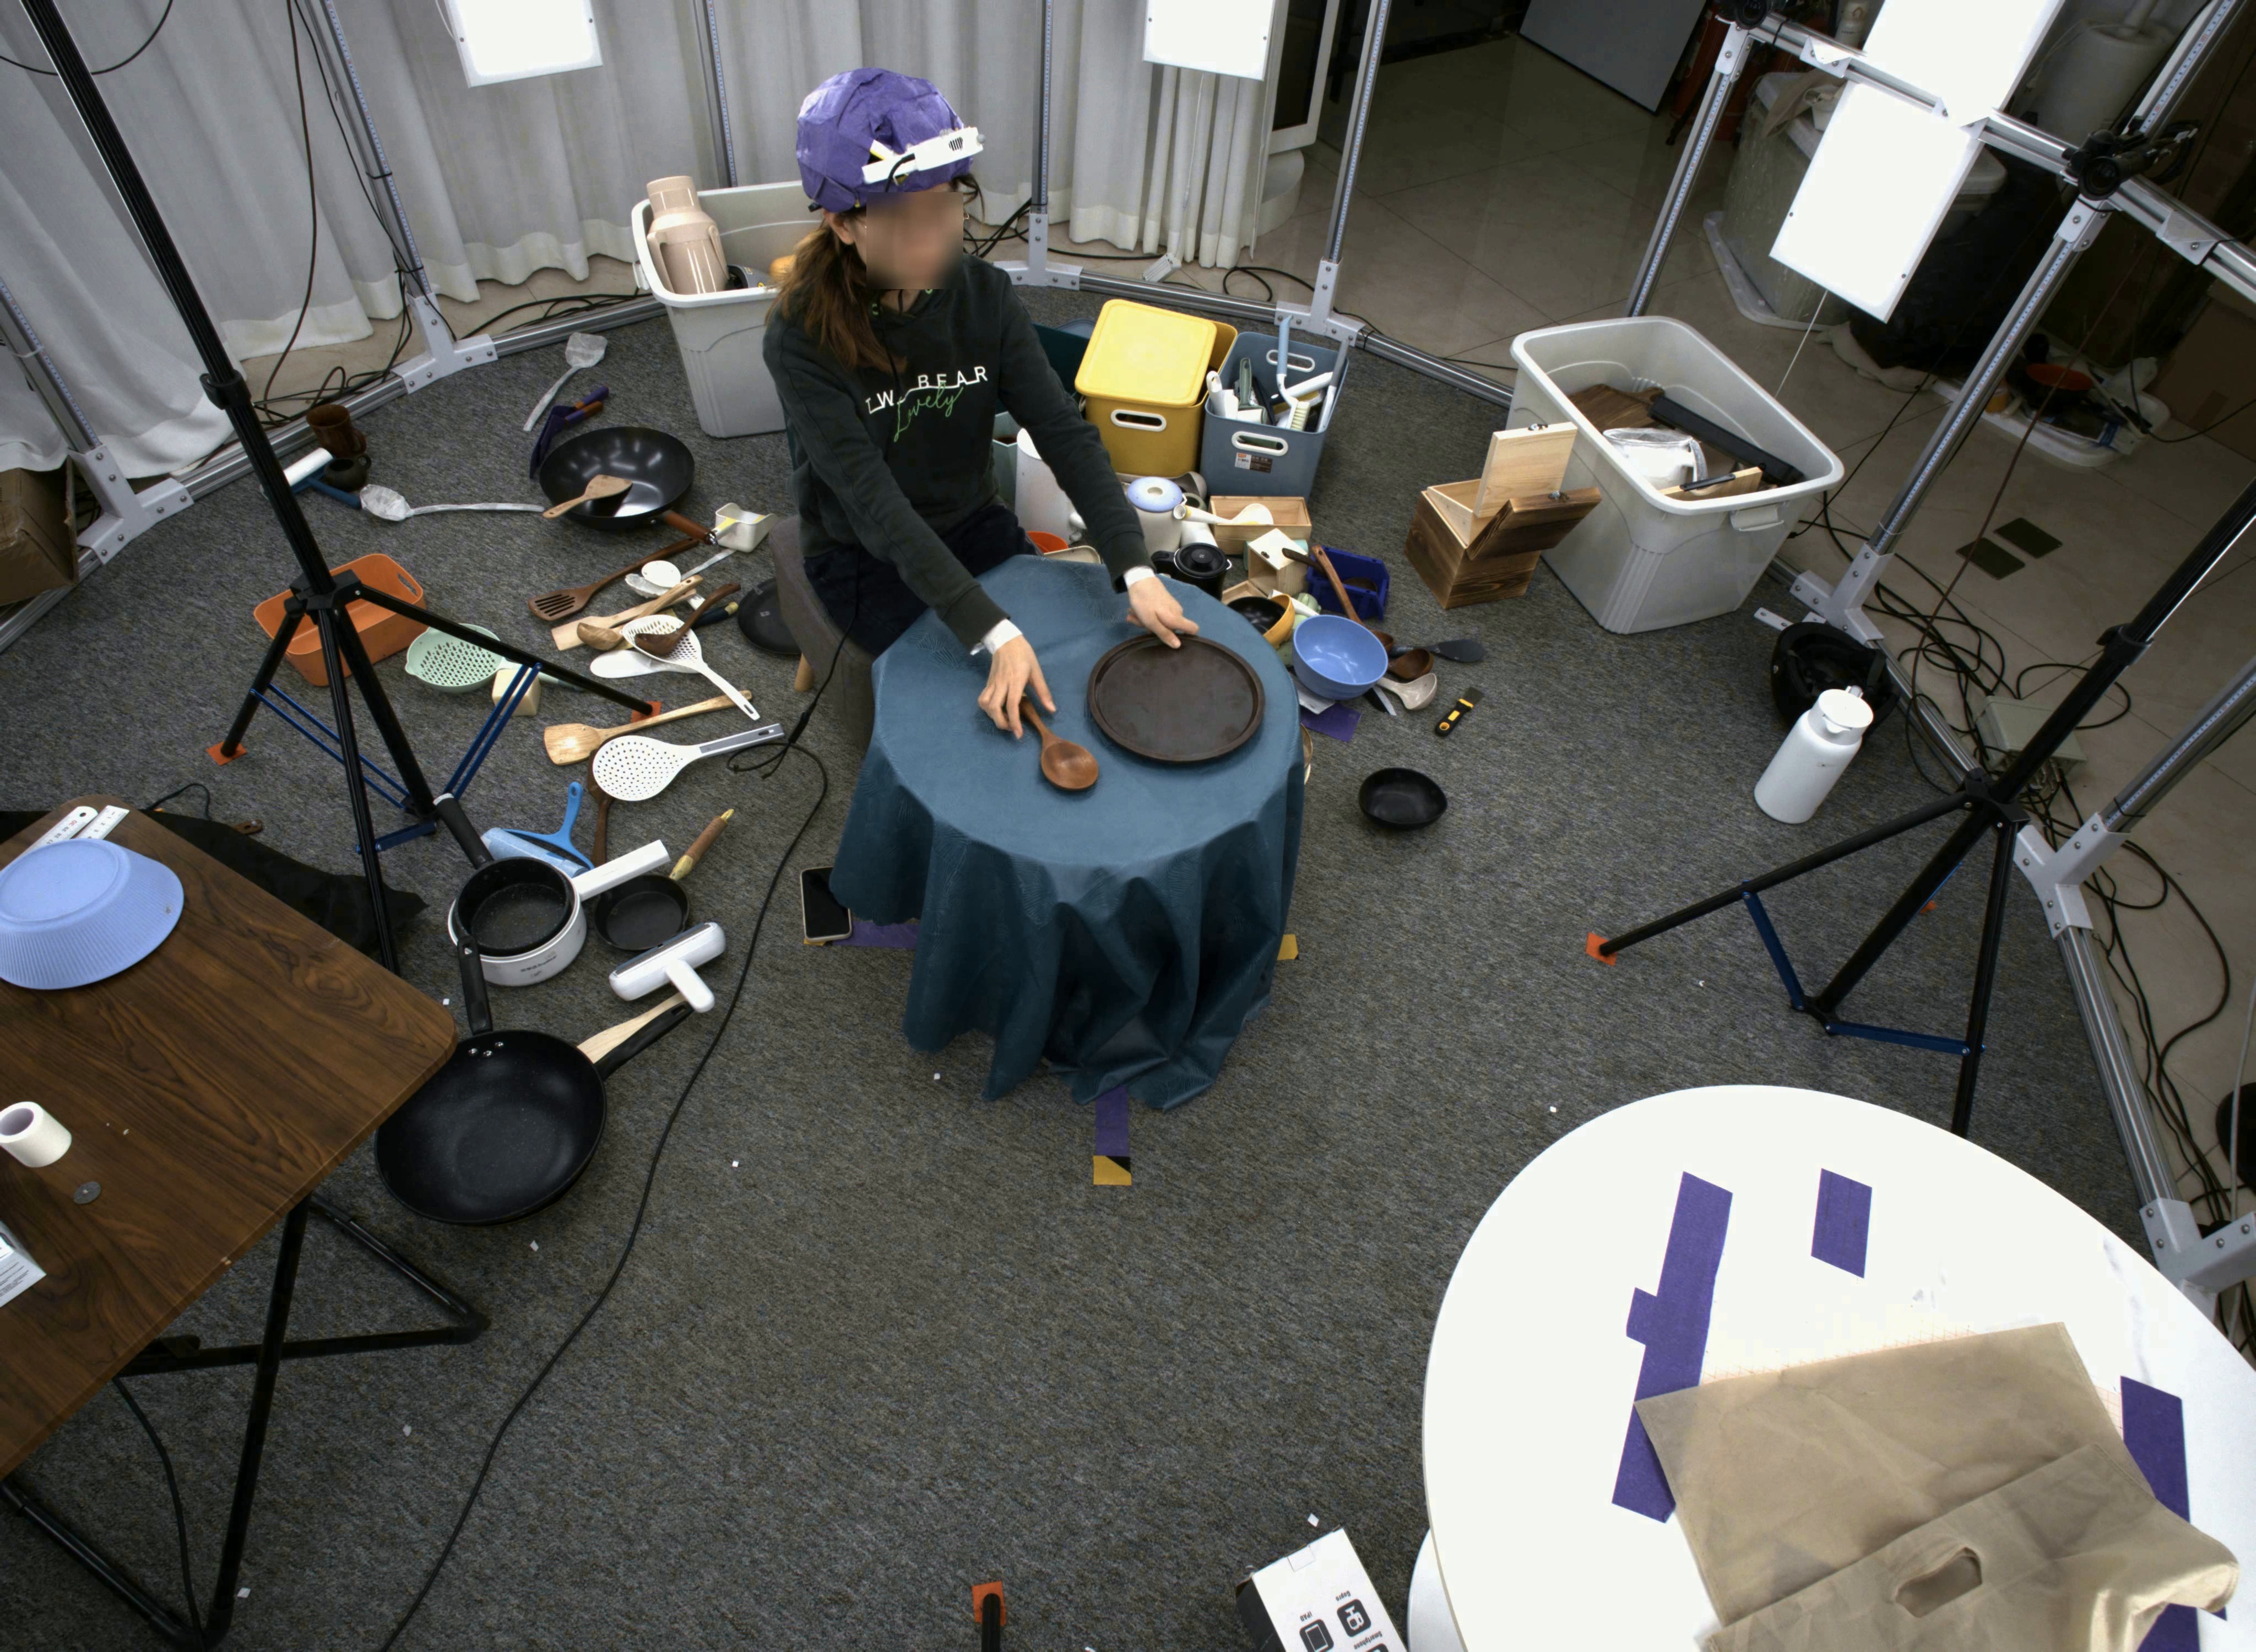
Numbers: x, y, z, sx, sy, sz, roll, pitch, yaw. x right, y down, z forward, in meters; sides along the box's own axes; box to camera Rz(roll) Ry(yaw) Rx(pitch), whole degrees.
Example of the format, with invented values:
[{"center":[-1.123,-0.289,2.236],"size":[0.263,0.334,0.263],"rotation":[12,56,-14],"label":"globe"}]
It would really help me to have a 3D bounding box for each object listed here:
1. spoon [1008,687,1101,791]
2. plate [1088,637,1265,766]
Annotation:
[{"center":[-0.109,-0.121,1.771],"size":[0.076,0.017,0.220],"rotation":[-22,54,-21],"label":"spoon"},{"center":[0.069,-0.179,1.828],"size":[0.254,0.028,0.261],"rotation":[2,50,-3],"label":"plate"}]
